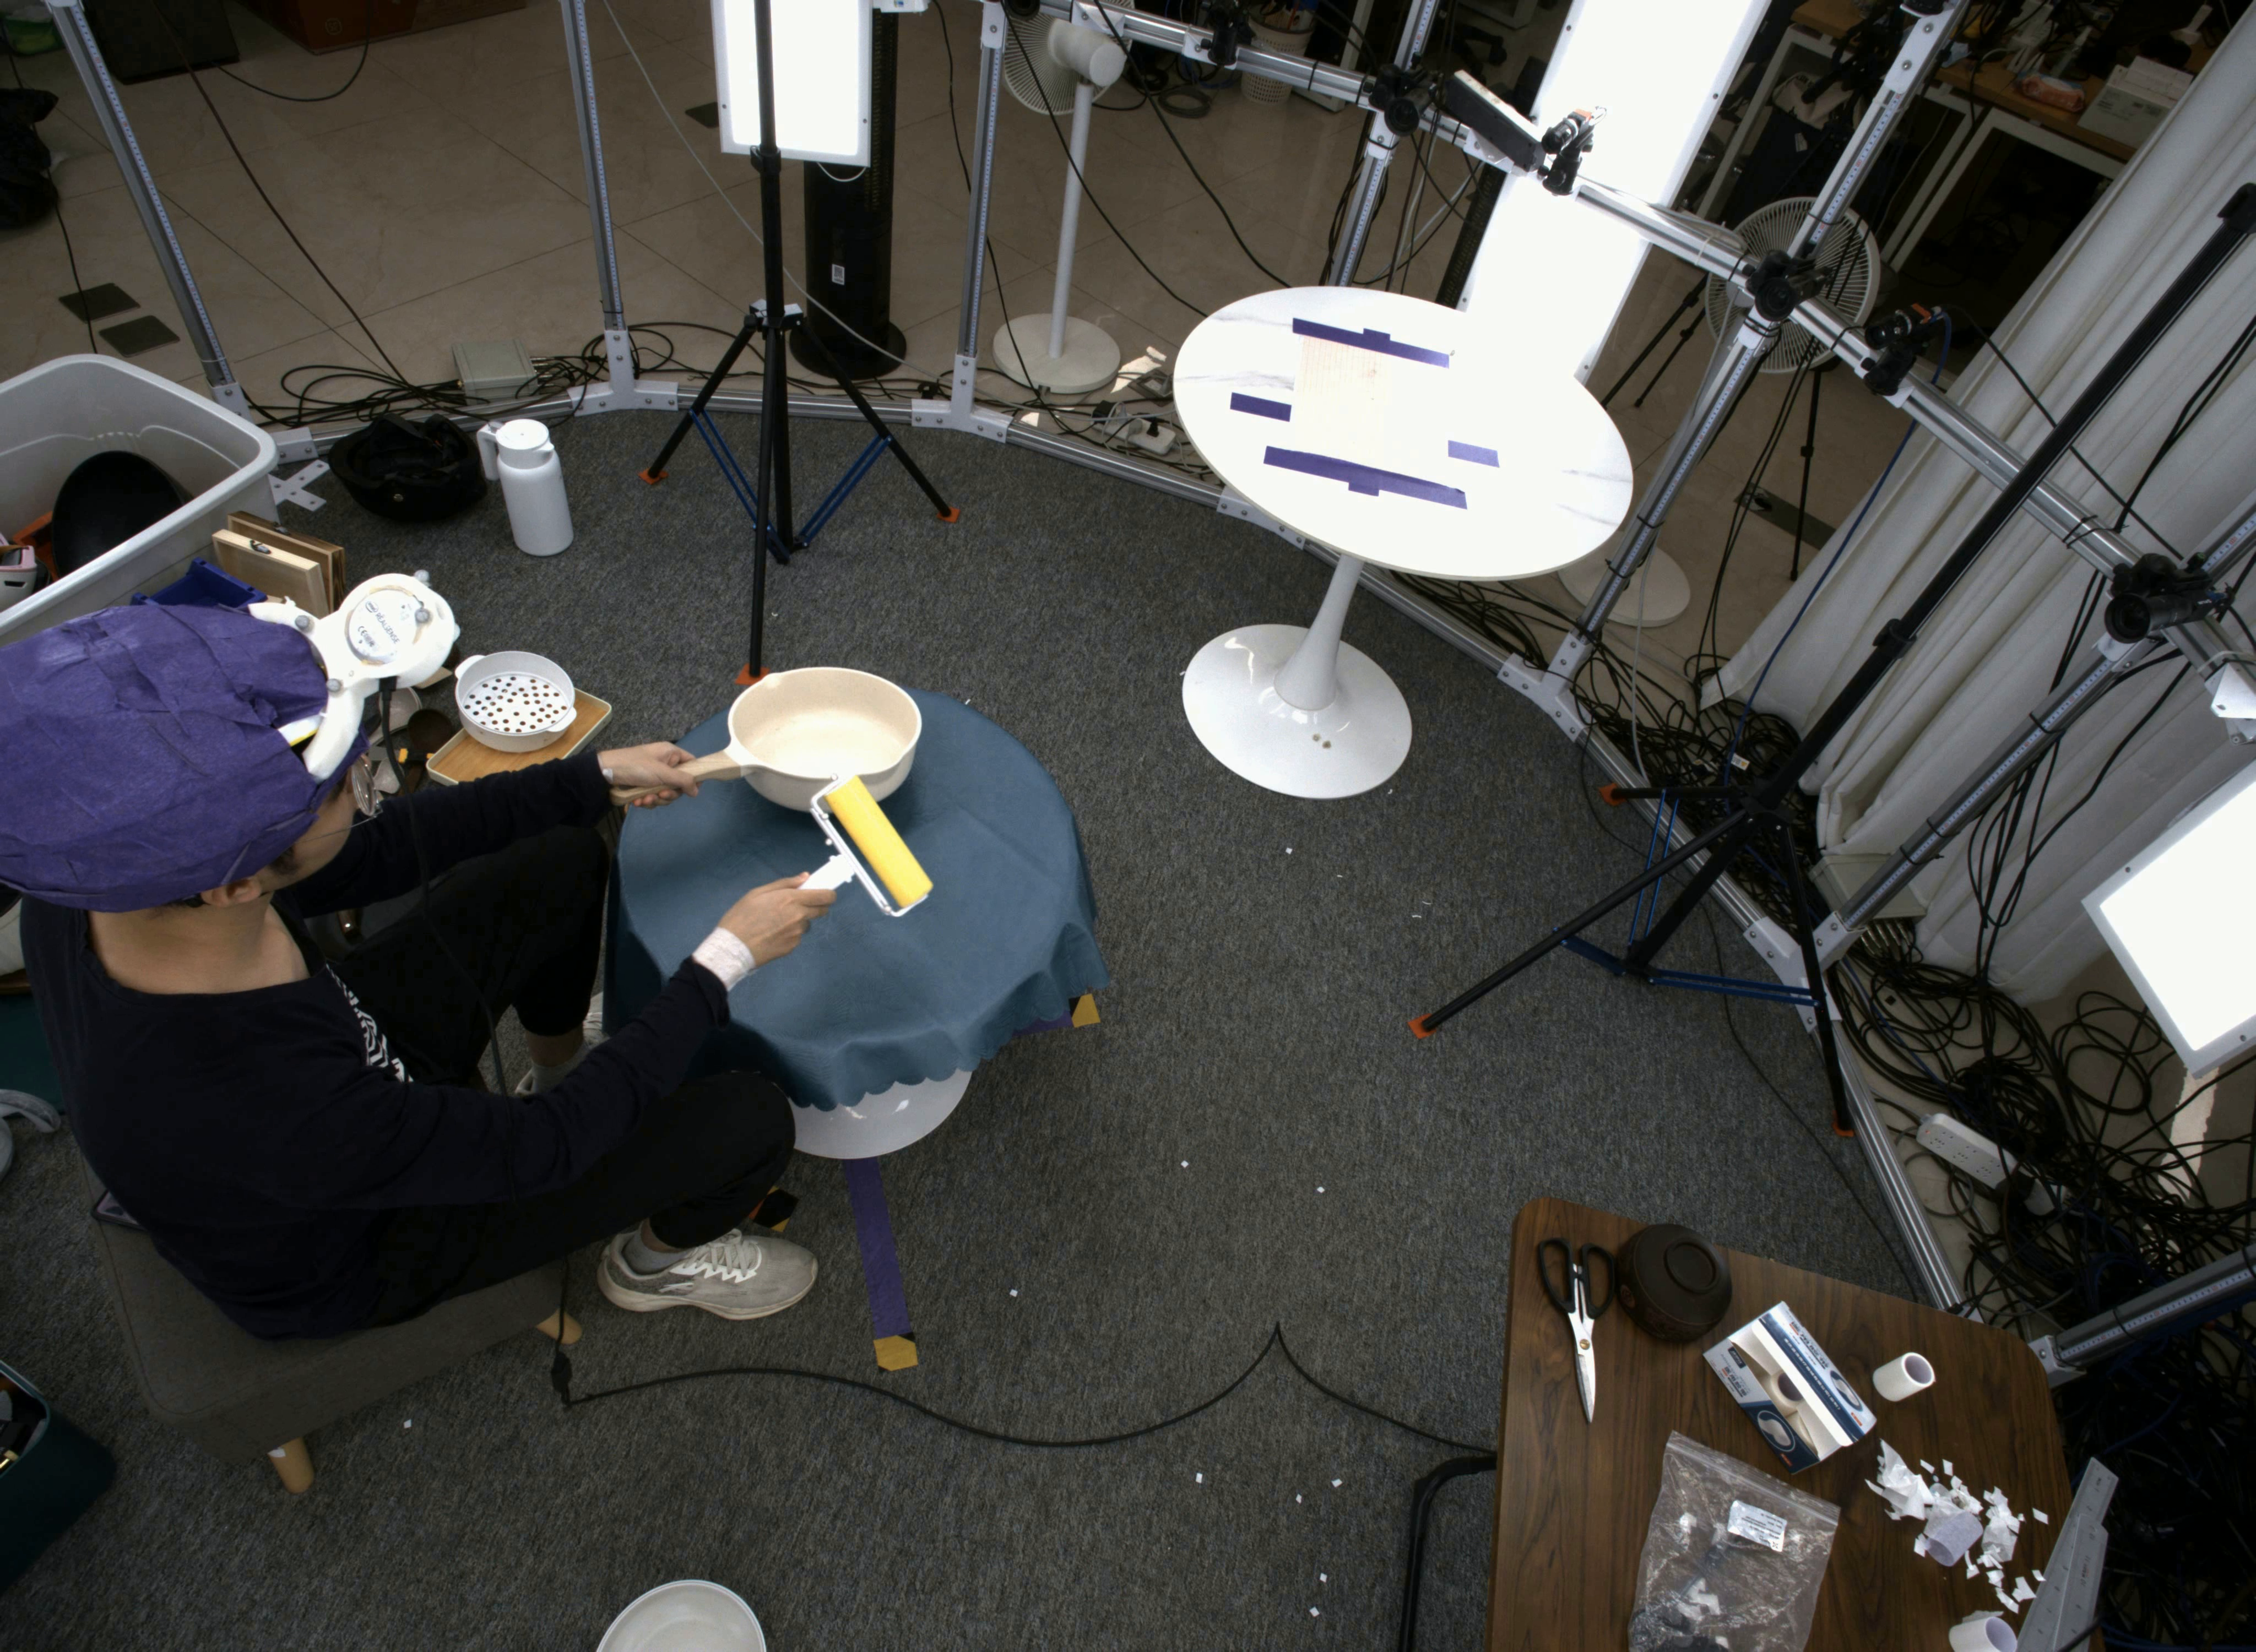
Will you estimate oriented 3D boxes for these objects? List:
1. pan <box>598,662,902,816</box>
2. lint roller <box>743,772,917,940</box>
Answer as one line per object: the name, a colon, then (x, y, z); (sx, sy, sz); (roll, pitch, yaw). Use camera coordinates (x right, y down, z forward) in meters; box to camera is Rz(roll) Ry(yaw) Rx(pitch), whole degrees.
pan: (-0.491, -0.083, 1.676); (0.255, 0.105, 0.437); (36, 46, 25)
lint roller: (-0.357, 0.060, 1.478); (0.192, 0.050, 0.179); (-45, 113, -31)
